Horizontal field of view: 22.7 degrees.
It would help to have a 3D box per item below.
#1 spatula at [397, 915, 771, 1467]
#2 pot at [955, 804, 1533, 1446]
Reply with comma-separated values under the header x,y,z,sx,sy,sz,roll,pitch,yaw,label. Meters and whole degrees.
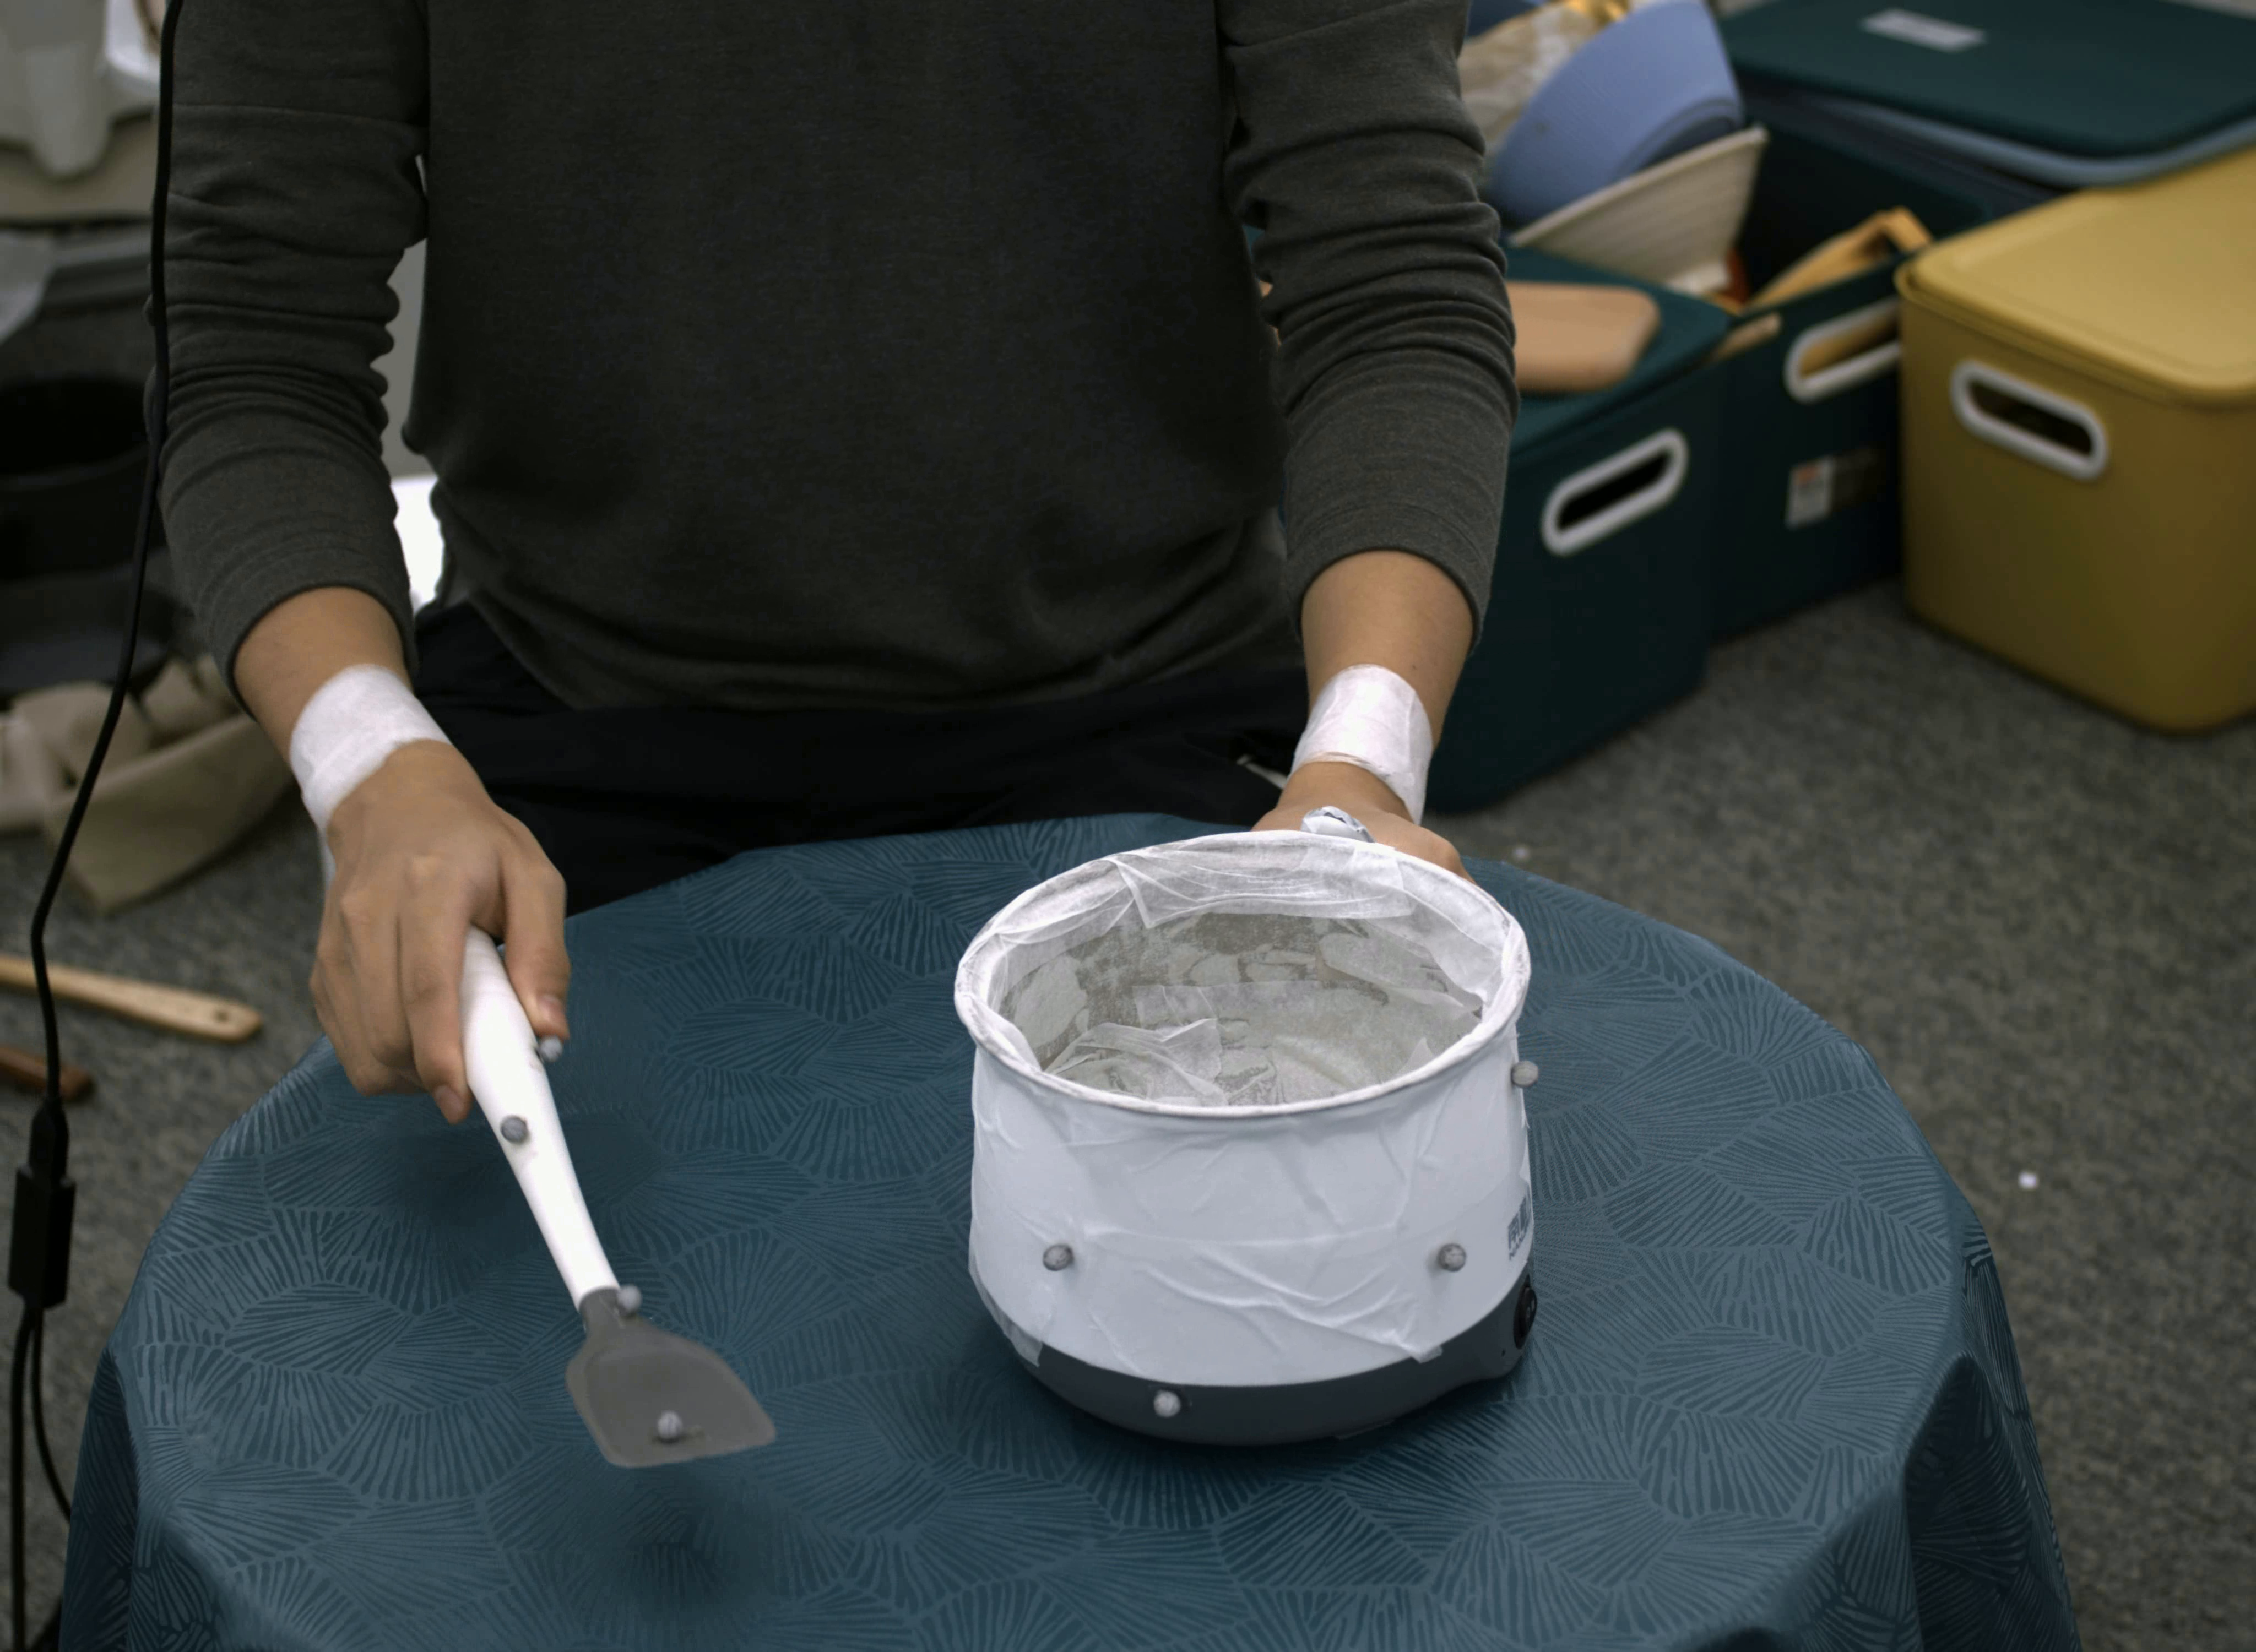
x,y,z,sx,sy,sz,roll,pitch,yaw,label
-0.177,0.117,1.752,0.059,0.032,0.291,-5,32,-21,spatula
0.046,0.086,1.778,0.177,0.135,0.238,5,28,16,pot
